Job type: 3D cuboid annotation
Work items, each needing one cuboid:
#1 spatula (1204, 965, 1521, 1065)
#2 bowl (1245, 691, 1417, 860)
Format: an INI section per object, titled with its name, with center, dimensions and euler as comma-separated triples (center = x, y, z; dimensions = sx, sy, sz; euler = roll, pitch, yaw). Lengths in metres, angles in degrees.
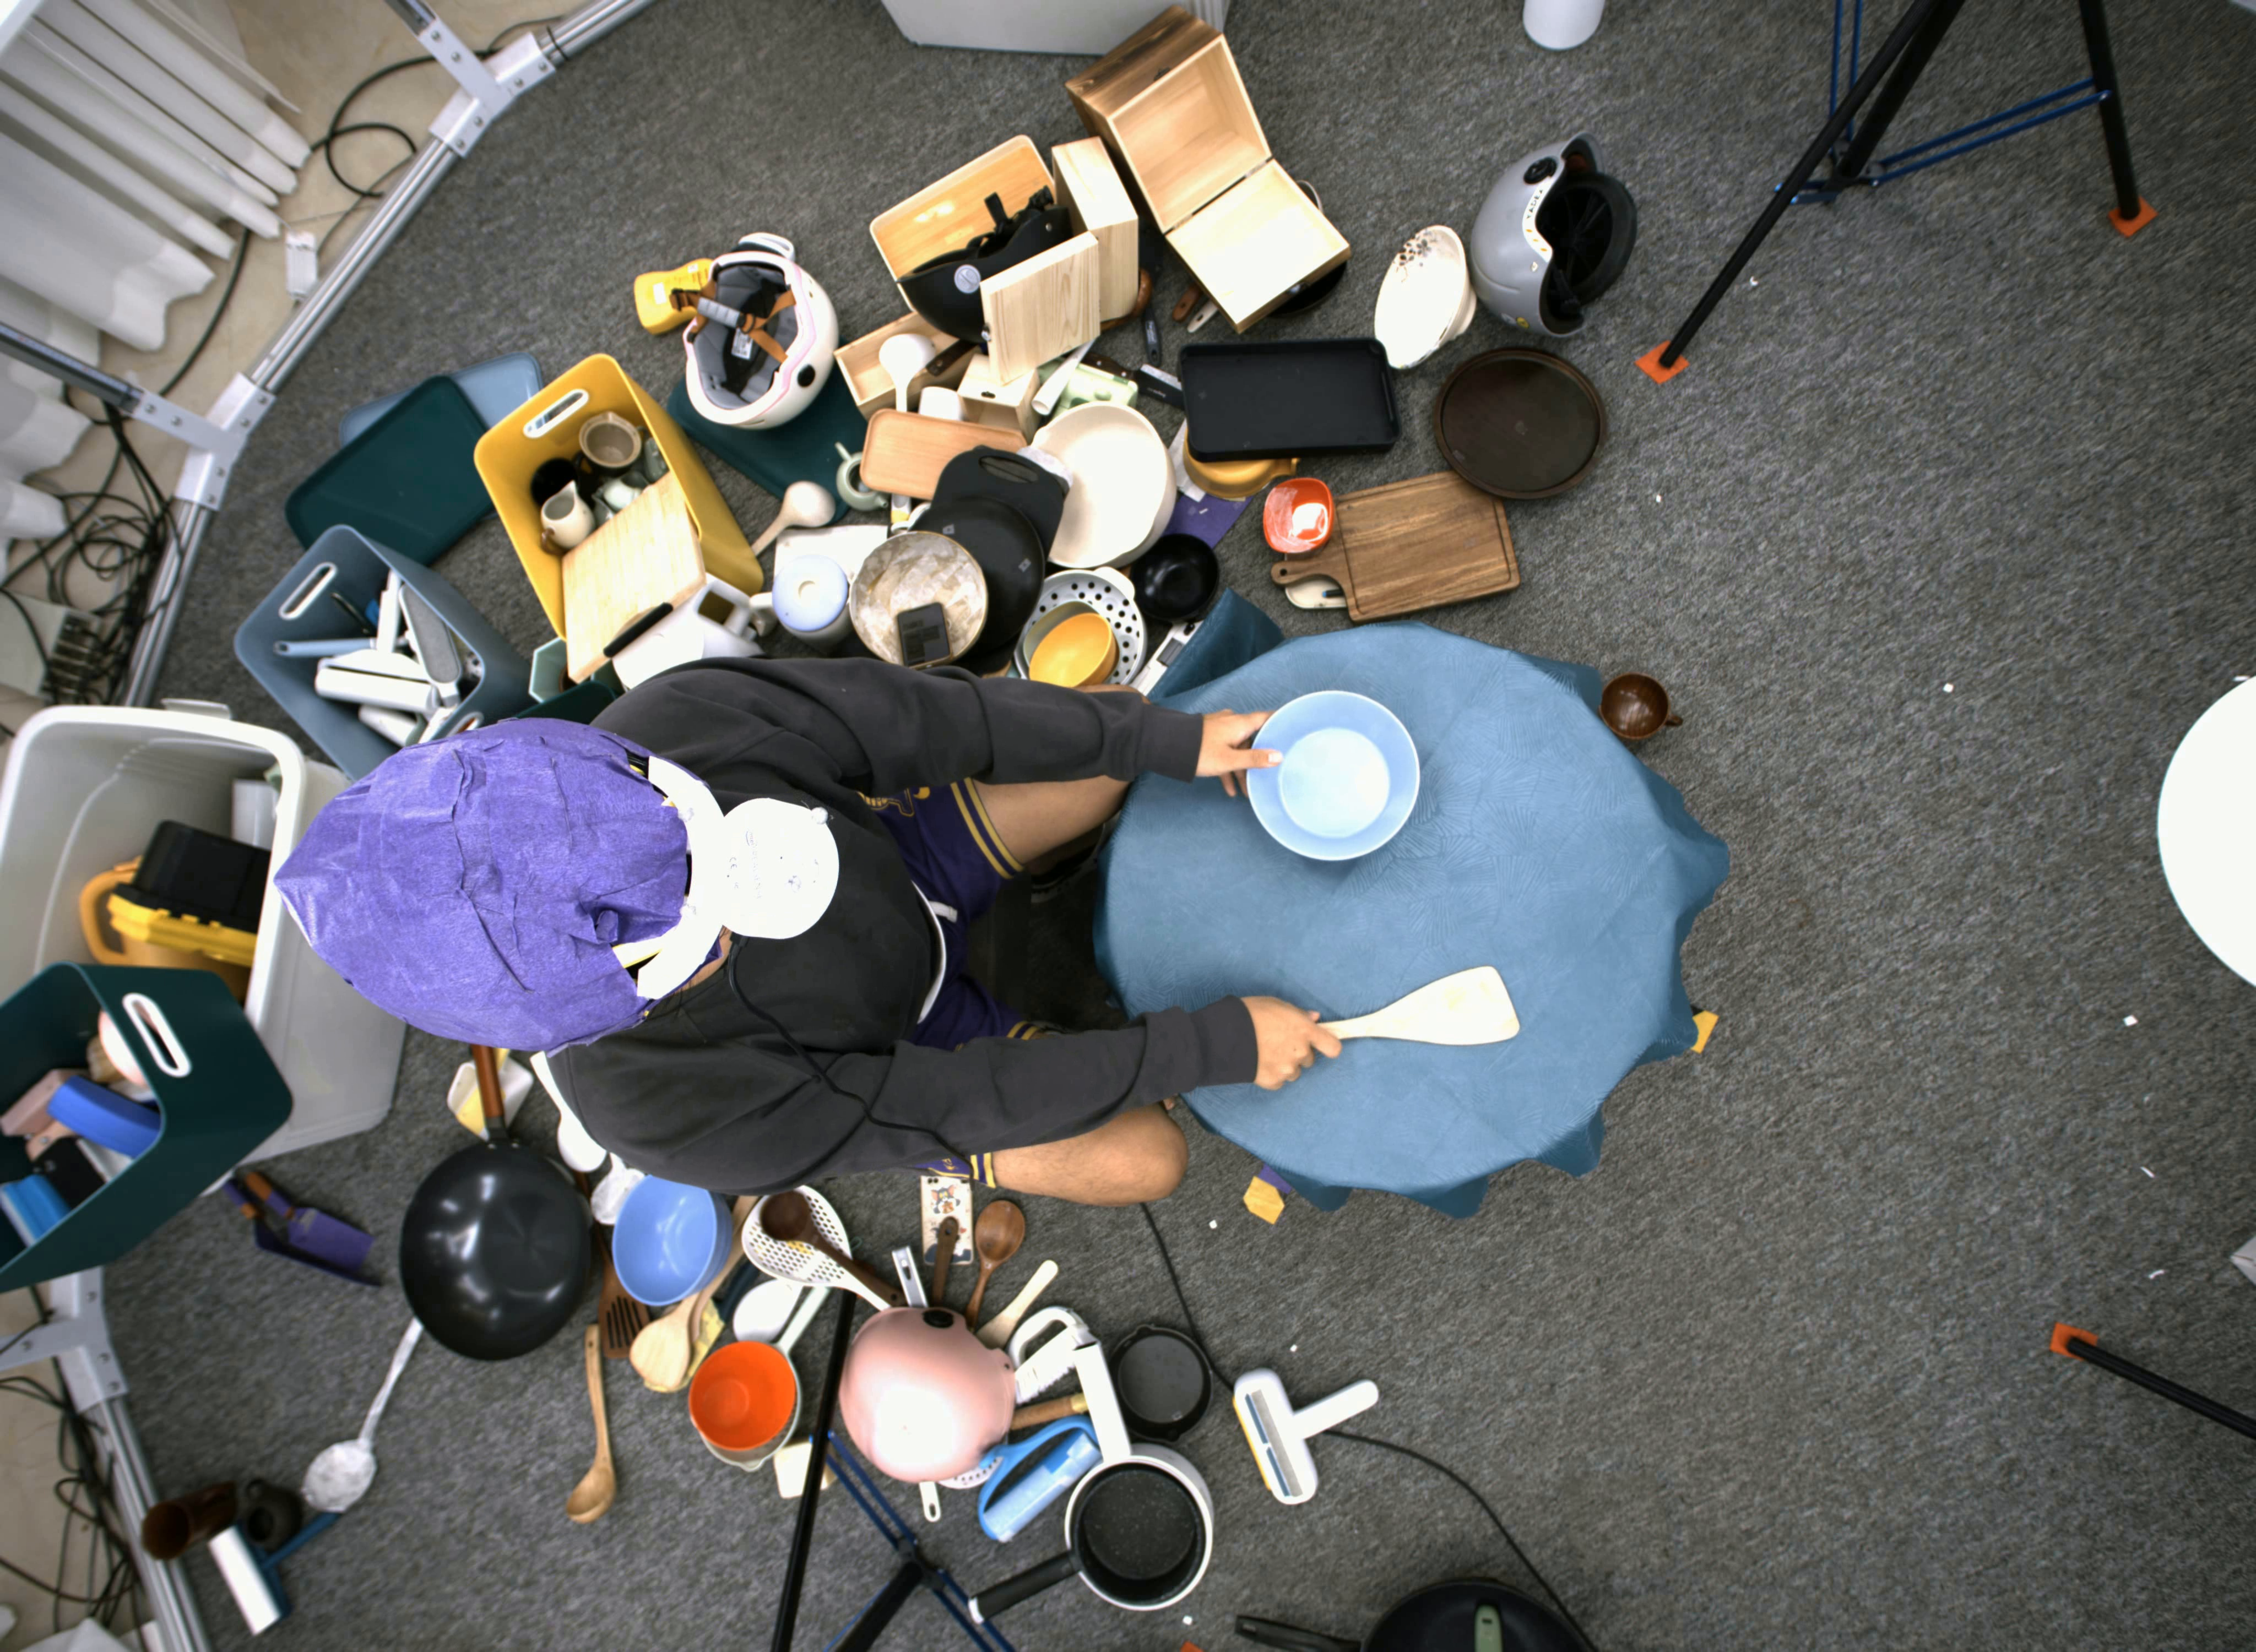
[spatula]
center = 0.240, 0.207, 1.442
dimensions = 0.328, 0.016, 0.079
euler = -10, 84, 4
[bowl]
center = 0.212, -0.050, 1.441
dimensions = 0.177, 0.070, 0.175
euler = -1, 86, 10
